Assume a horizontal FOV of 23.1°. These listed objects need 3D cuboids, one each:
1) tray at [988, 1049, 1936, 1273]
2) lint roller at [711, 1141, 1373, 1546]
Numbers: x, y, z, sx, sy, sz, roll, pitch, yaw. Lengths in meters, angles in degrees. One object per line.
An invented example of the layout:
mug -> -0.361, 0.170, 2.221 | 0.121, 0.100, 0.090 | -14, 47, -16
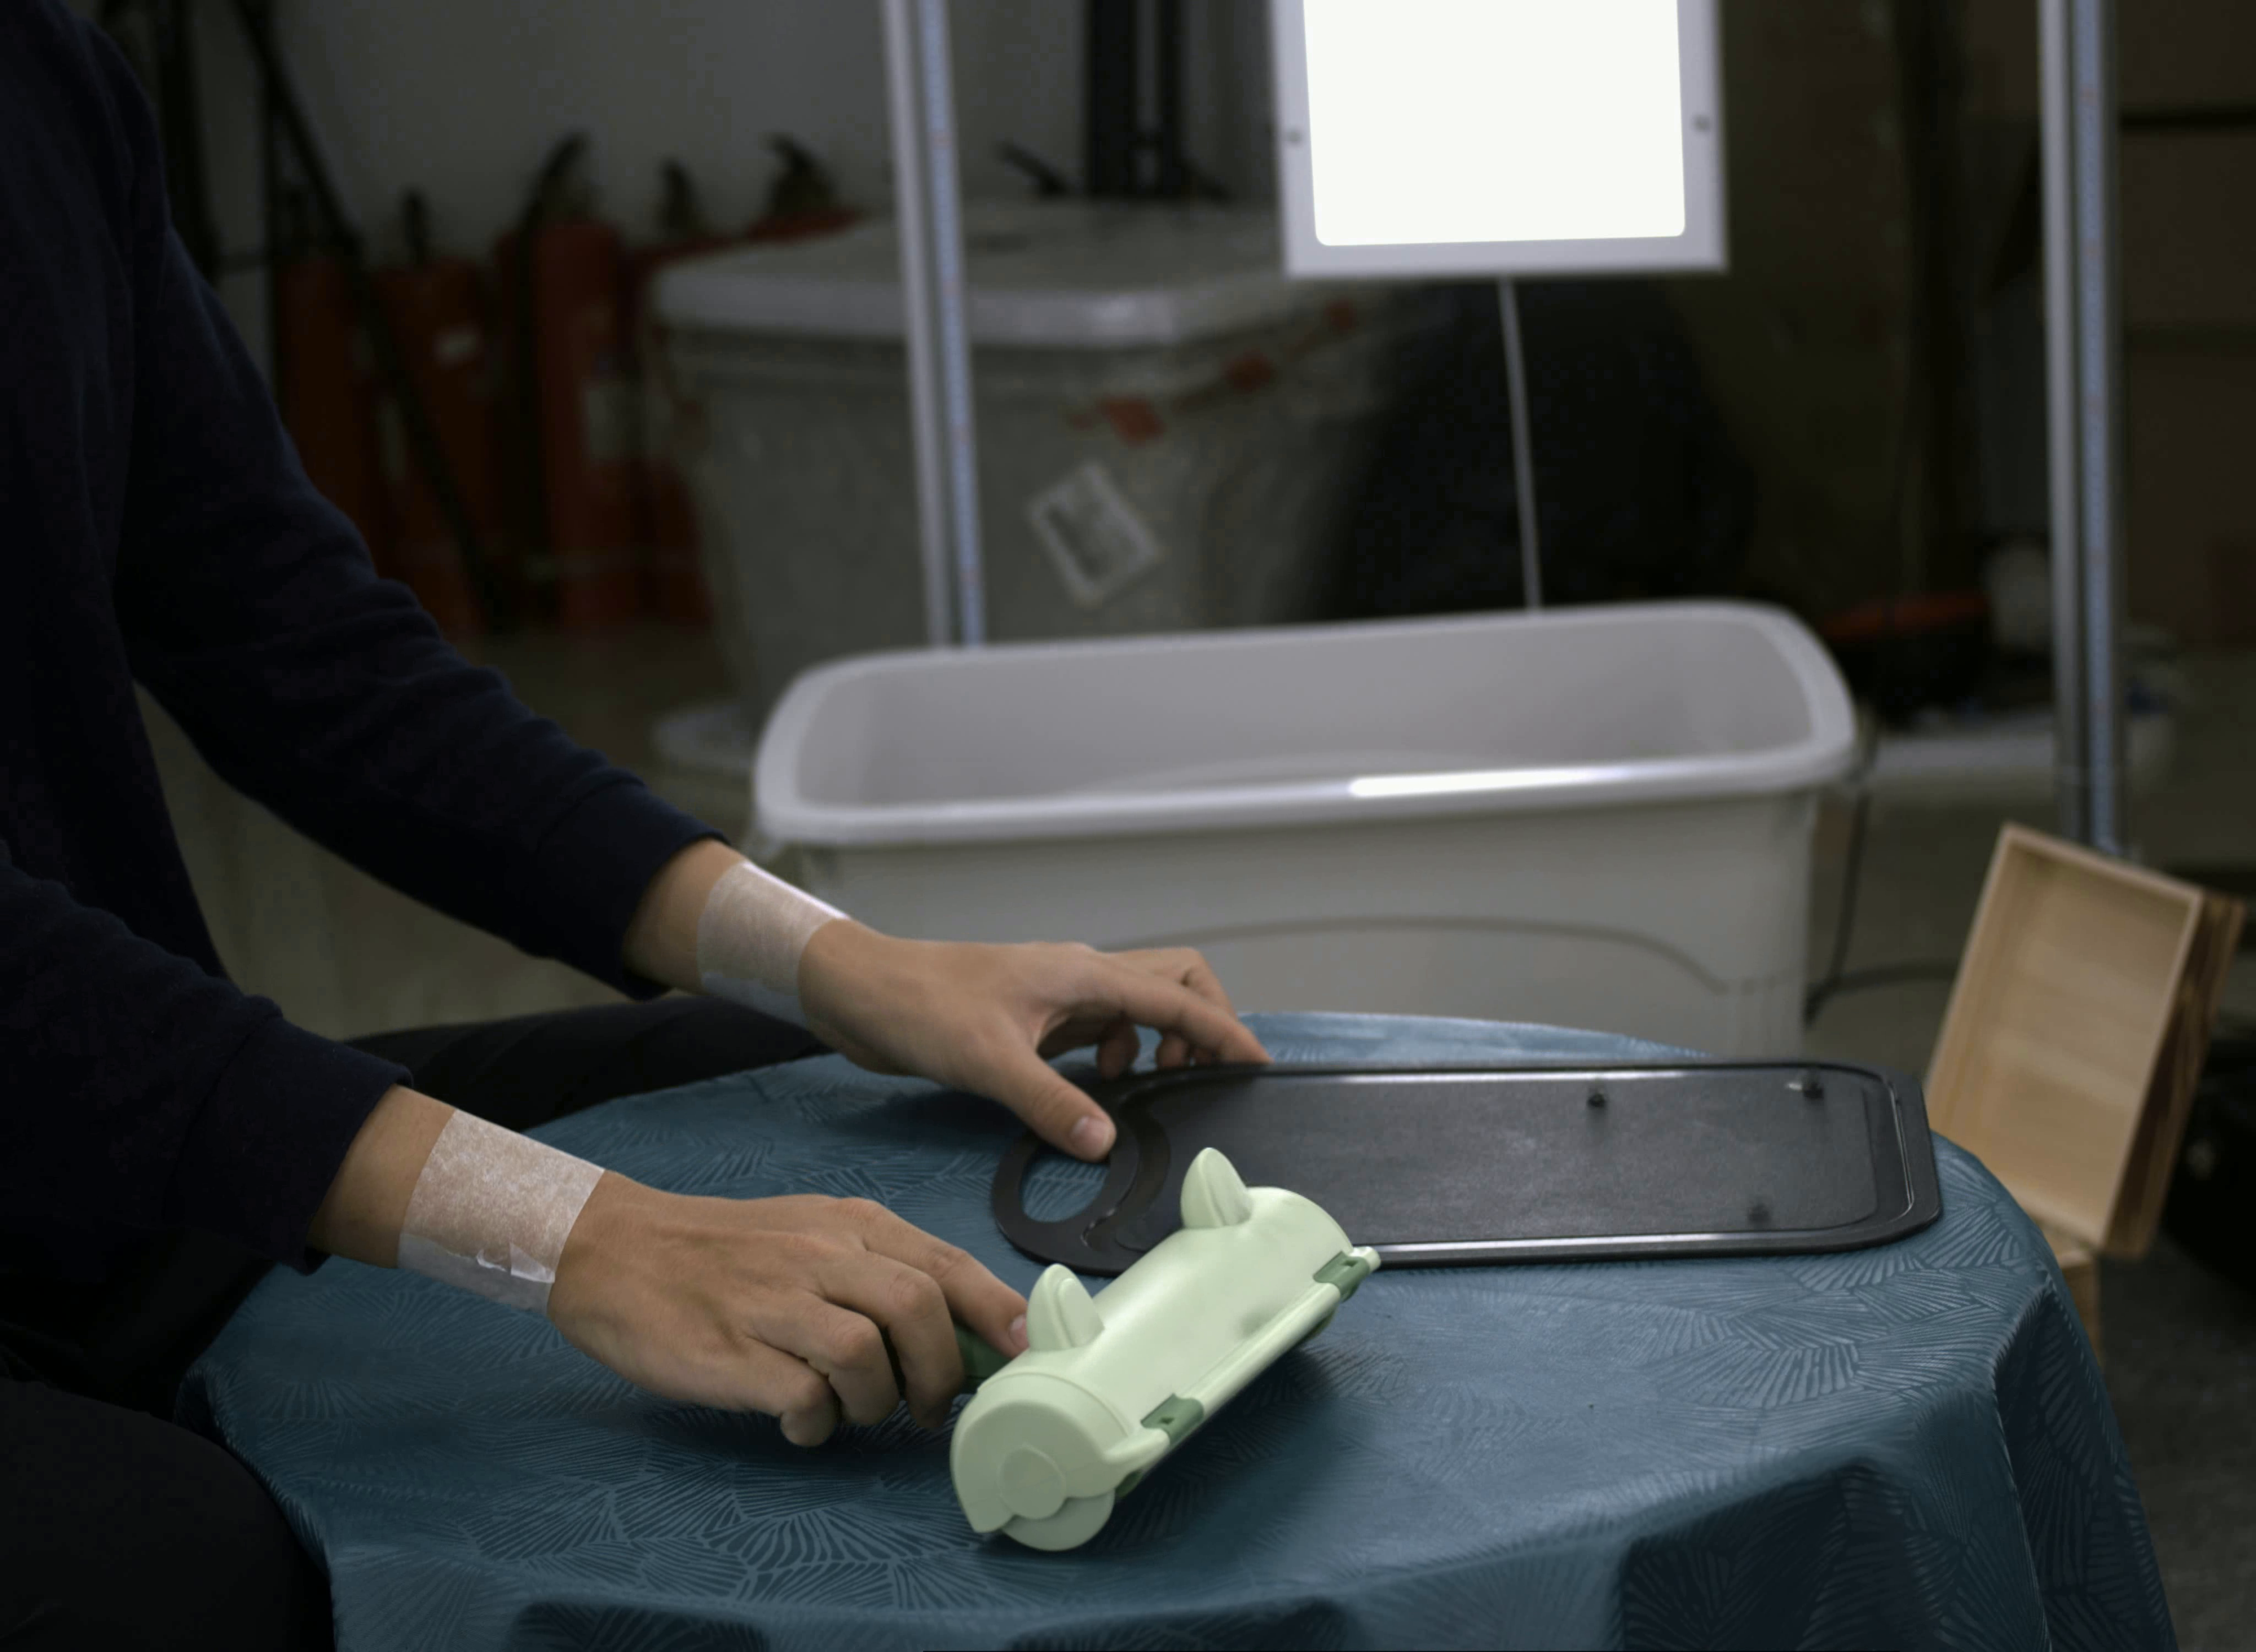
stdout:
tray -> 0.114, 0.113, 1.888 | 0.327, 0.010, 0.209 | -3, 16, 9
lint roller -> -0.041, 0.140, 1.664 | 0.186, 0.083, 0.194 | 12, 18, 21
